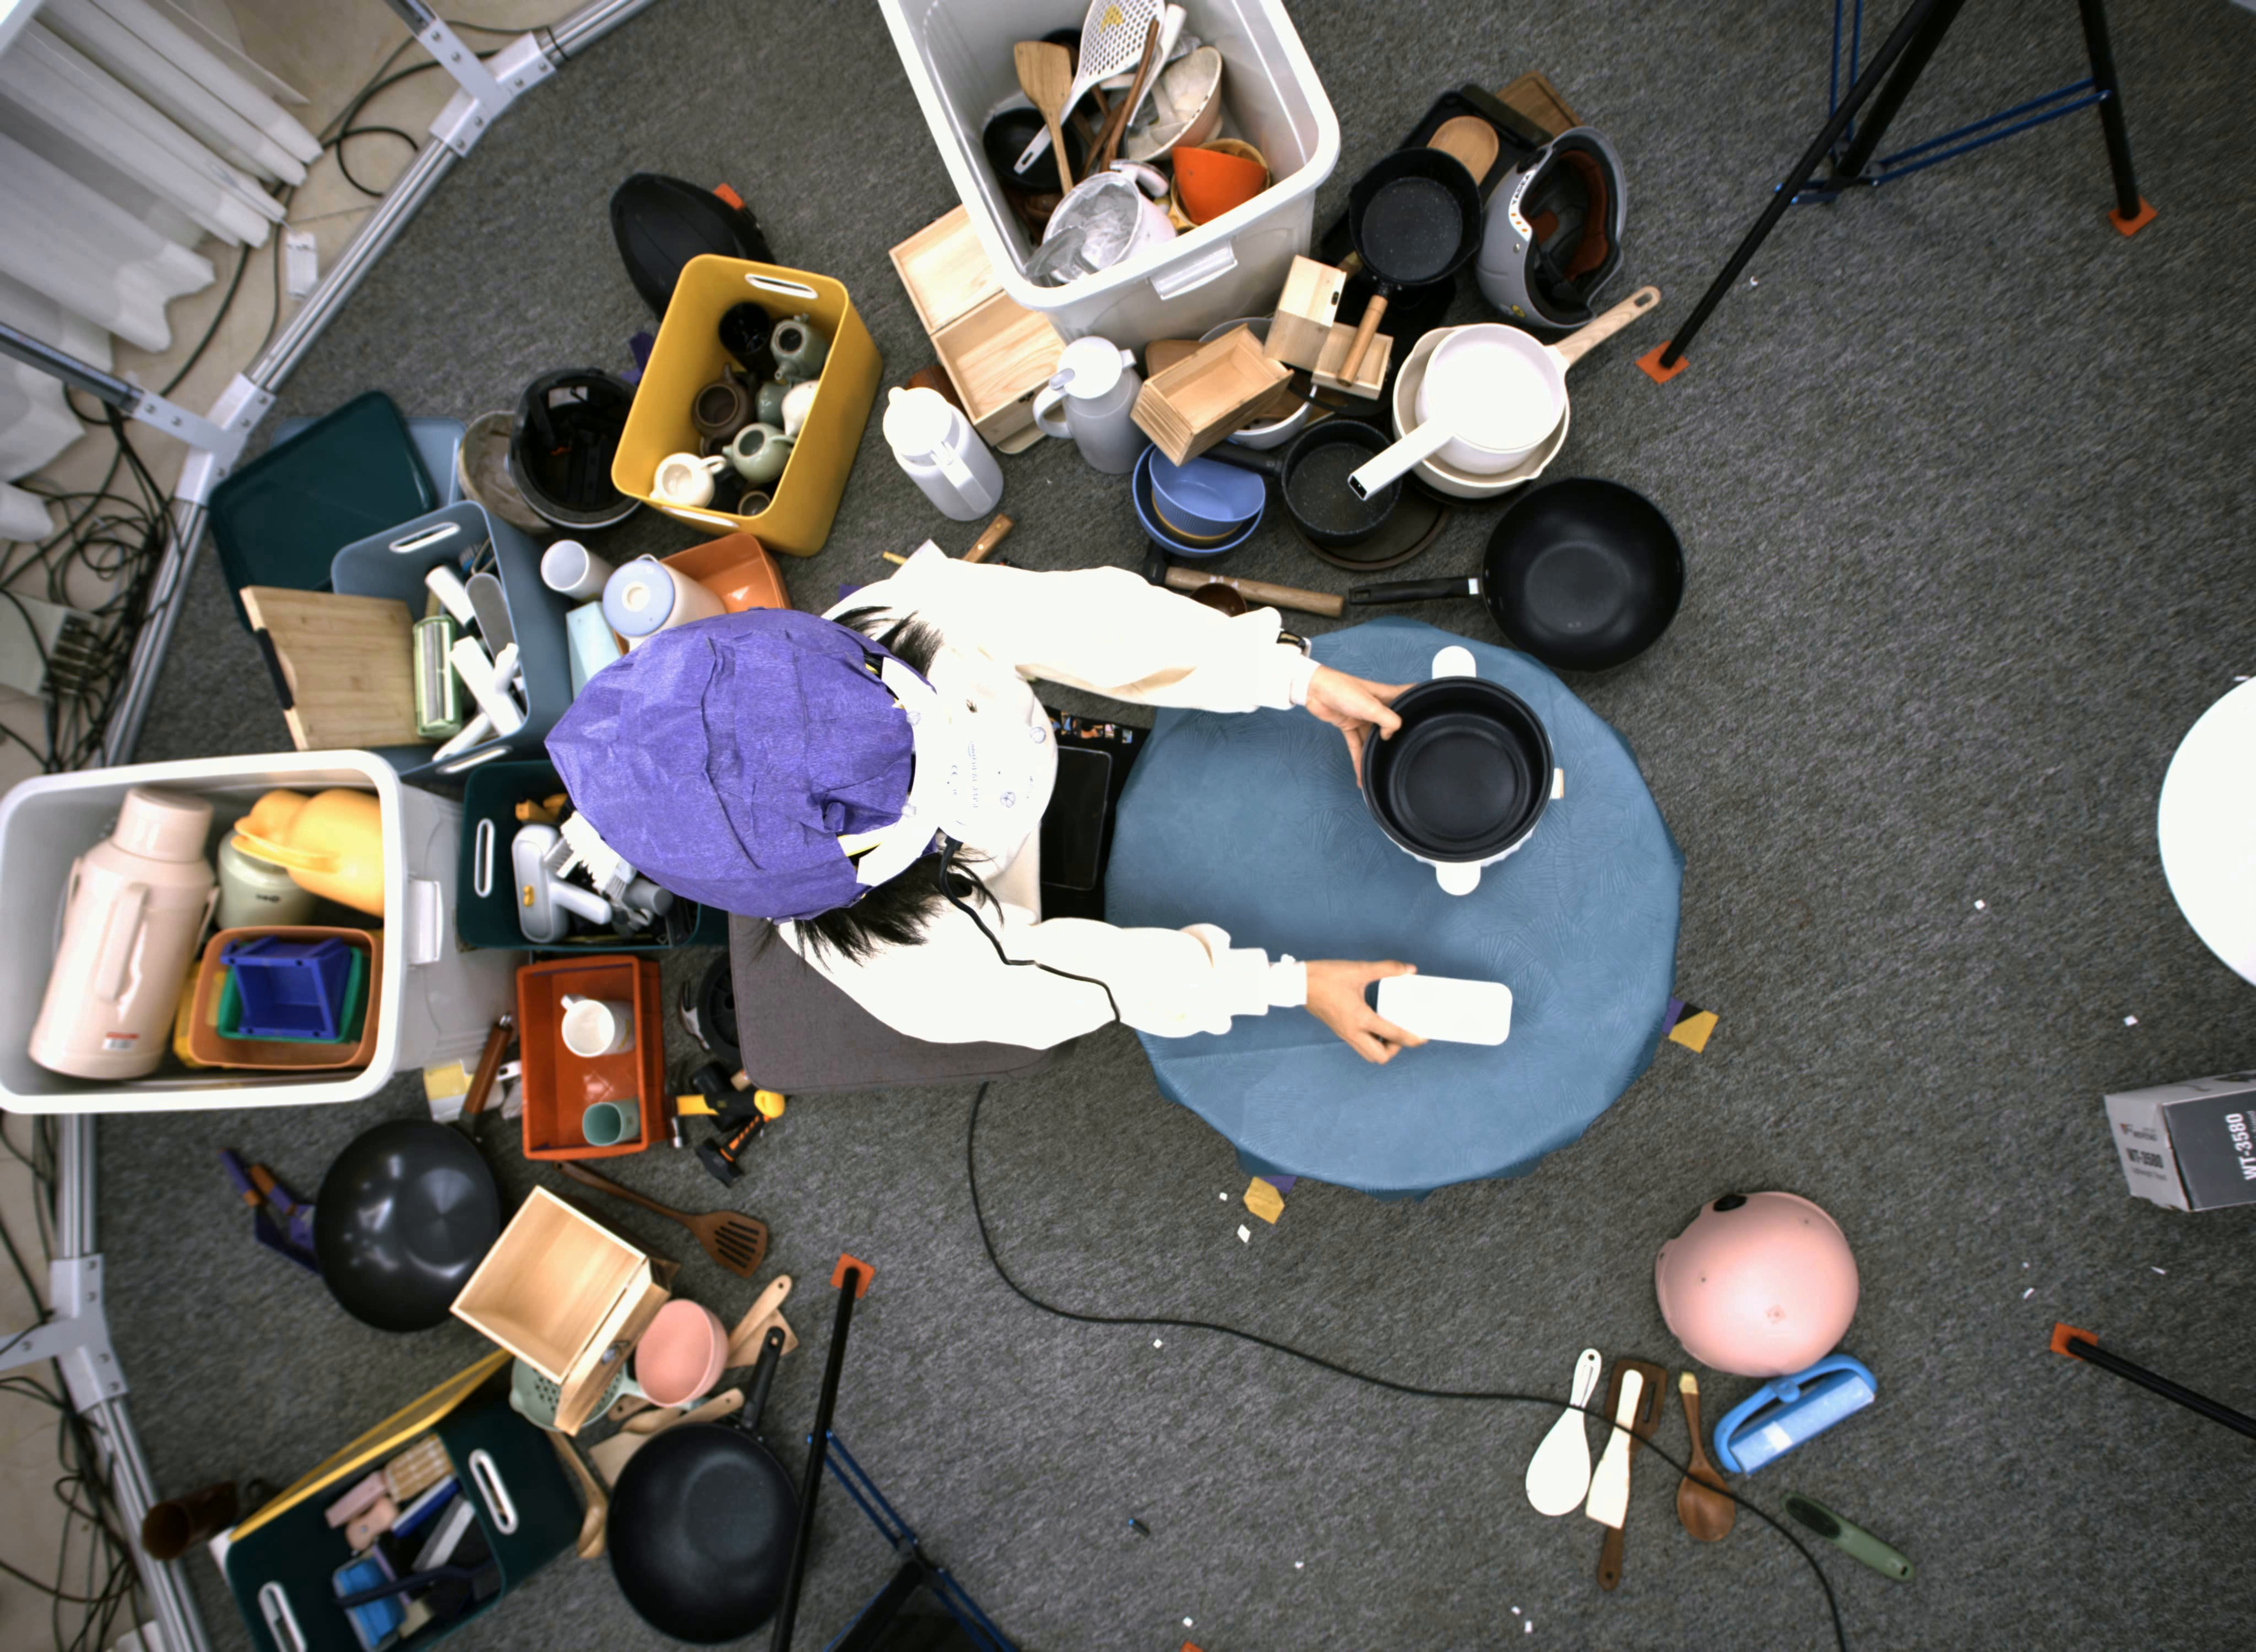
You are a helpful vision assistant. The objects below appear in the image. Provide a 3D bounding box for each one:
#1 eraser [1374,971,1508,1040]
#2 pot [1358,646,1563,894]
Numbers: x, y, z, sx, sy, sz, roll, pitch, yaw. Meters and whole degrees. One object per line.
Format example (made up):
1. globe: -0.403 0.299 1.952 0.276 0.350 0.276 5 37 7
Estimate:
1. eraser: 0.314 0.176 1.390 0.131 0.034 0.063 5 94 9
2. pot: 0.332 -0.050 1.363 0.192 0.142 0.239 -3 84 19
